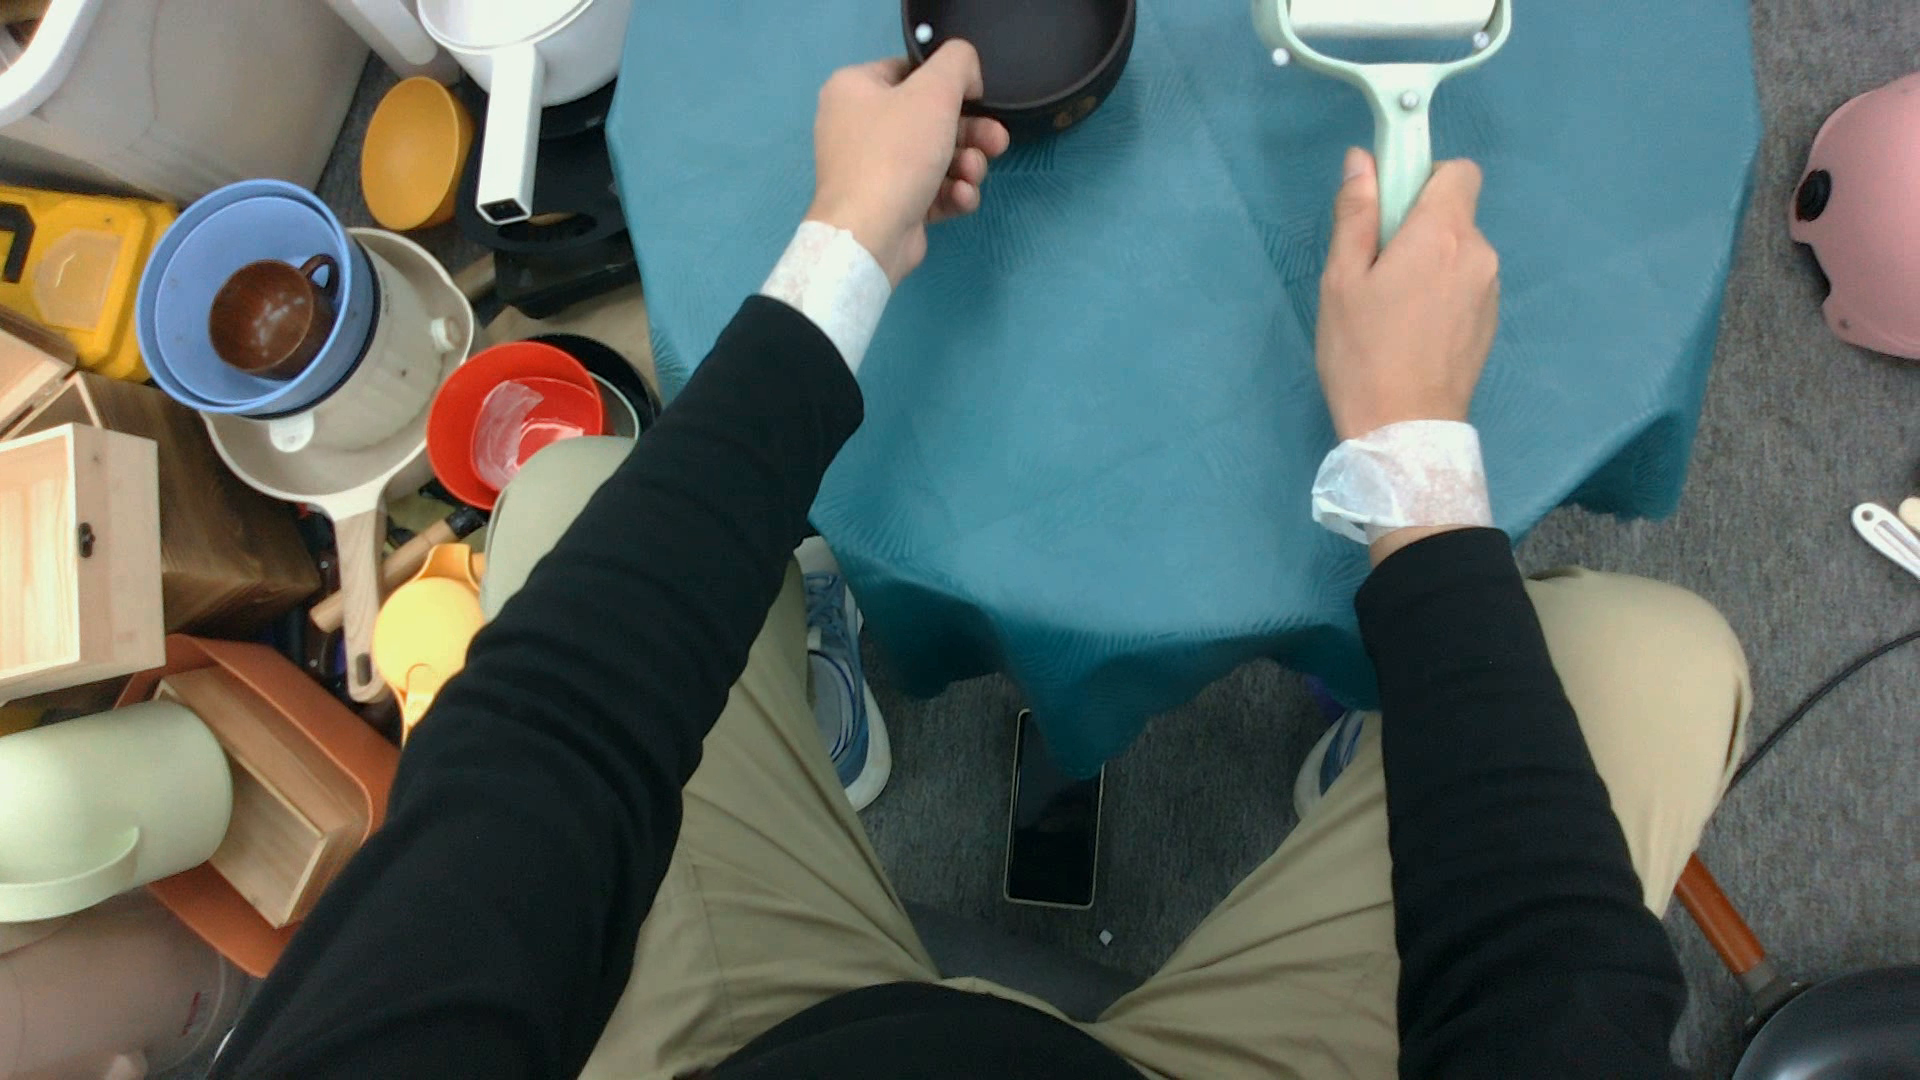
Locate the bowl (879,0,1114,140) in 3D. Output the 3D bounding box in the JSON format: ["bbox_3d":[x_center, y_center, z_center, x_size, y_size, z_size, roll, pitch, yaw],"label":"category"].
[{"bbox_3d":[0.020,-0.262,0.711,0.118,0.070,0.118,0,81,3],"label":"bowl"}]

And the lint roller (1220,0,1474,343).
[{"bbox_3d":[0.189,-0.195,0.661,0.117,0.048,0.197,-2,85,-9],"label":"lint roller"}]
